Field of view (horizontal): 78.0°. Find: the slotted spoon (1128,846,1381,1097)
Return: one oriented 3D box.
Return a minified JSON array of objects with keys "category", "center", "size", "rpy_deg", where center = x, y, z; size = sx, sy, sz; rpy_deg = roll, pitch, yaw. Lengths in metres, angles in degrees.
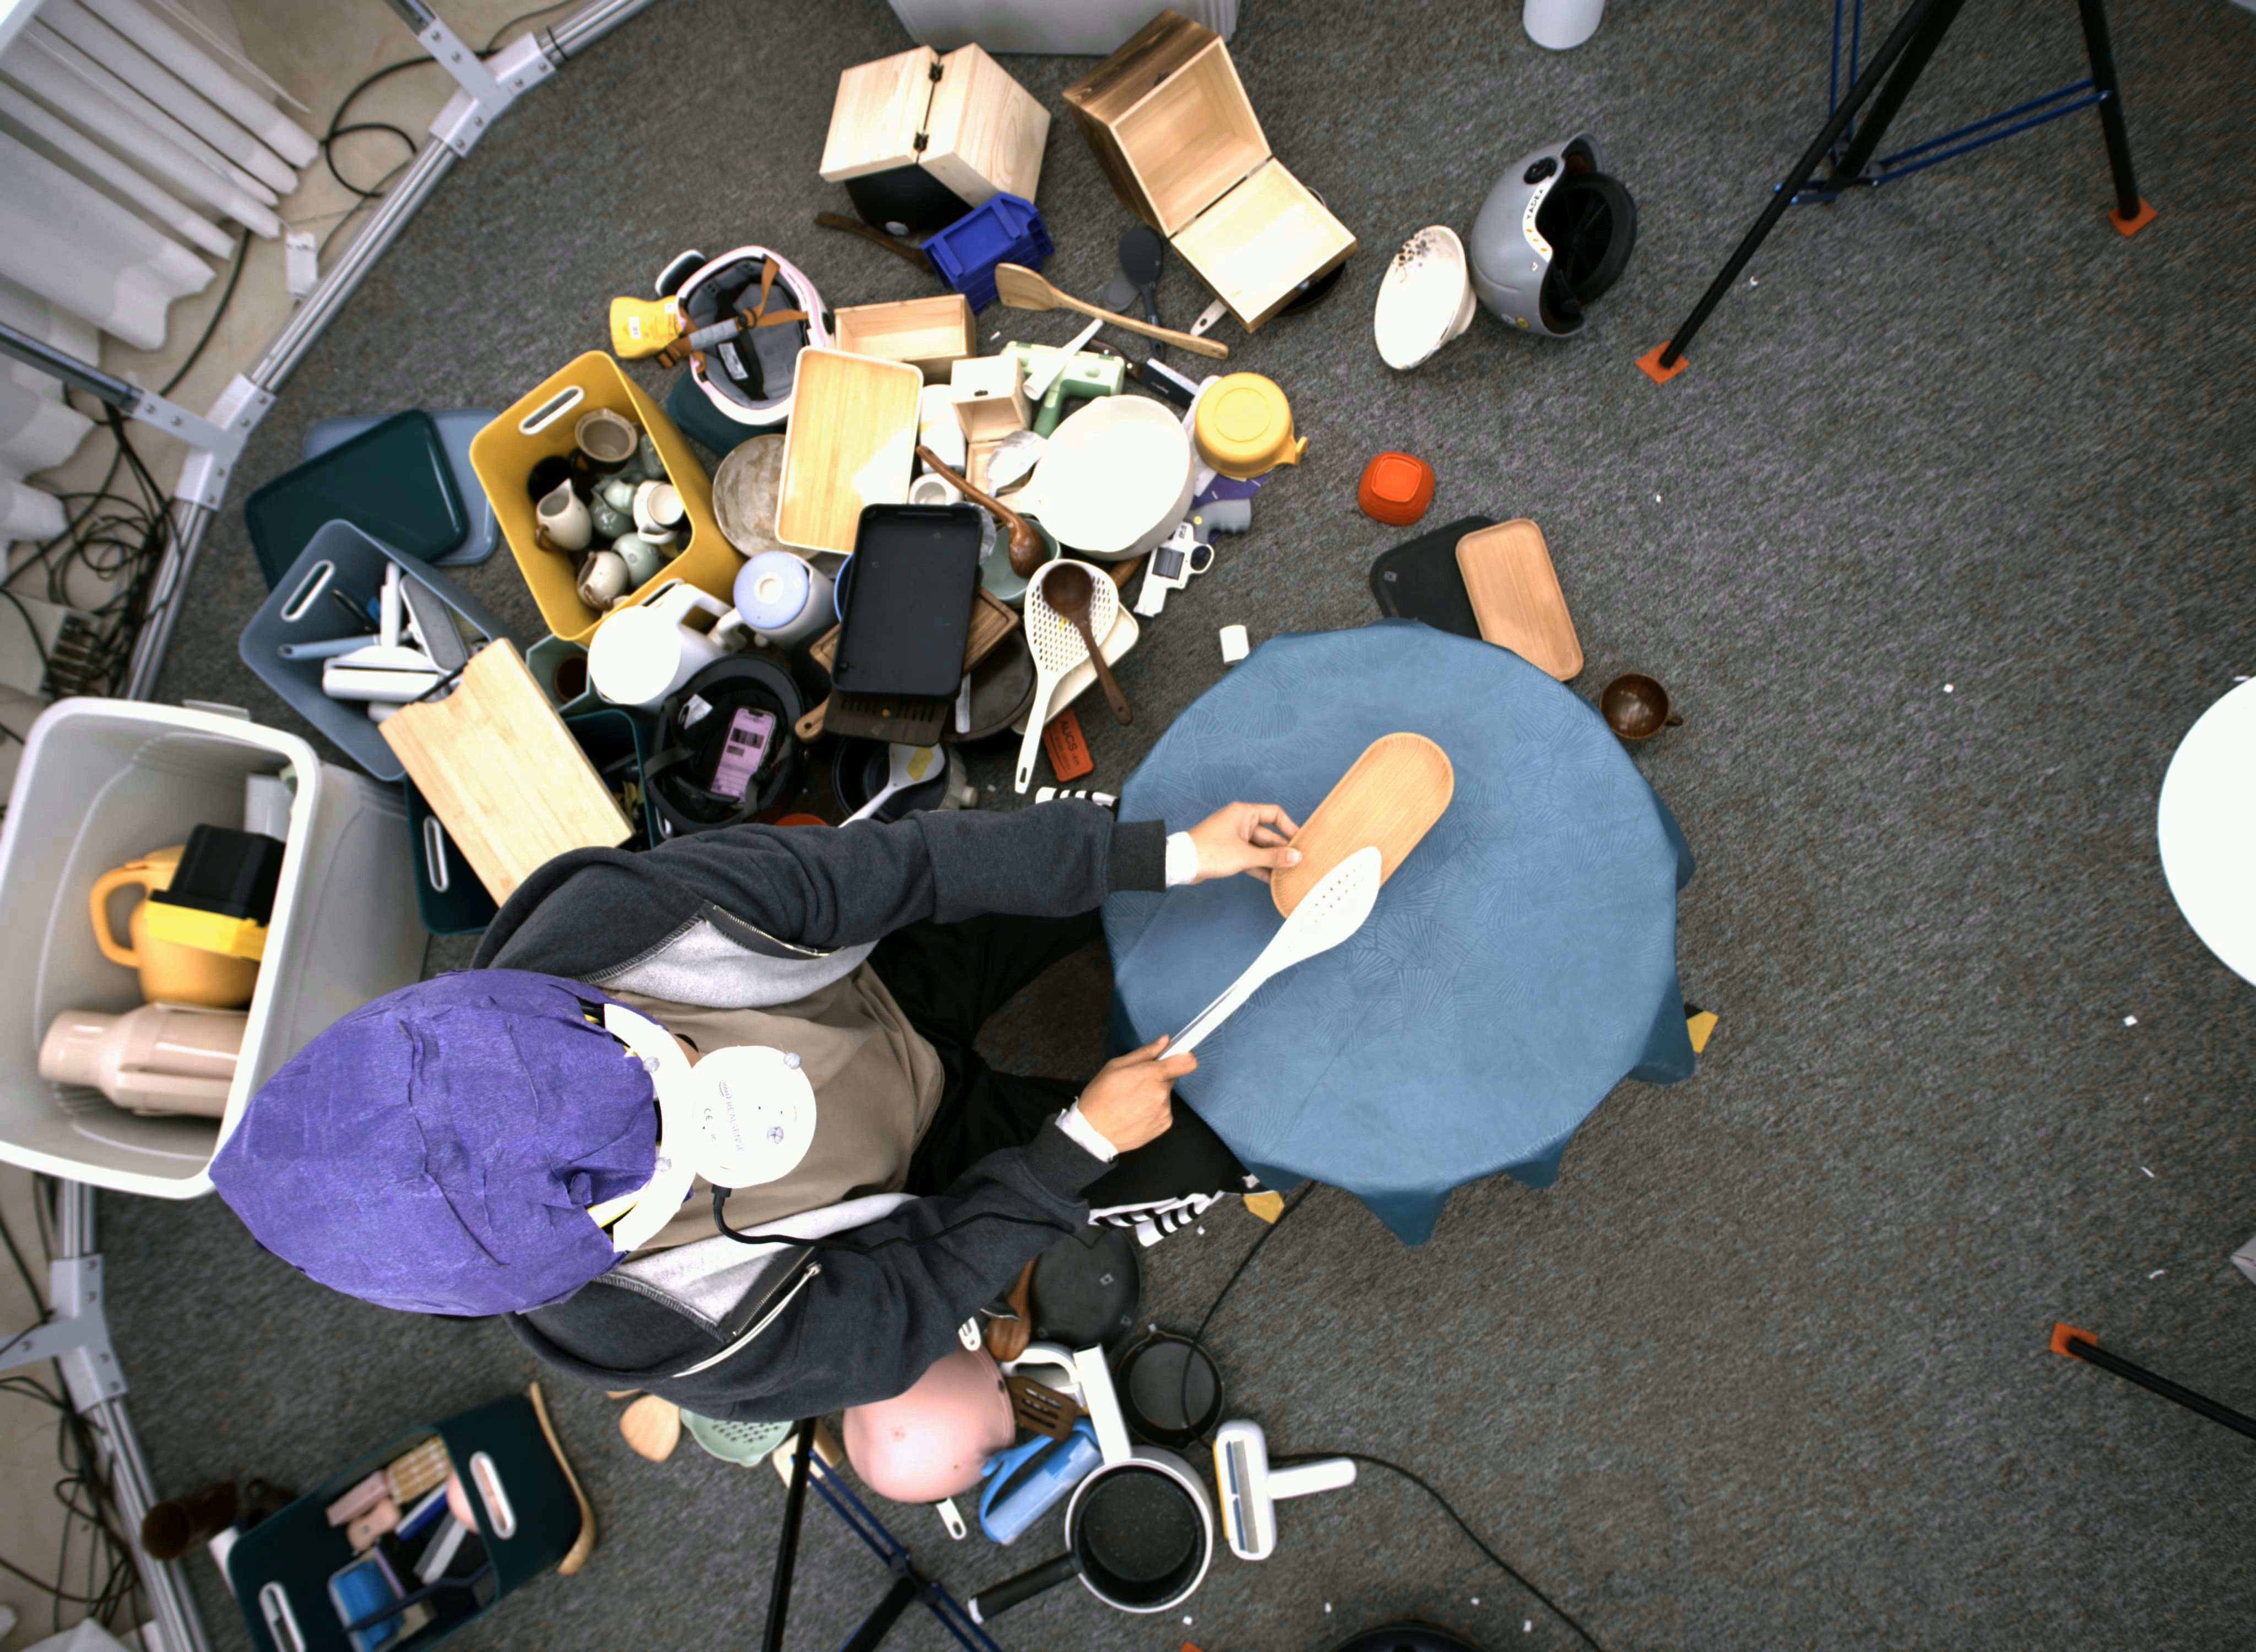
[{"category":"slotted spoon","center":[0.123,0.148,1.363],"size":[0.354,0.134,0.046],"rpy_deg":[-41,97,16]}]

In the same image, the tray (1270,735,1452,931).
[{"category":"tray","center":[0.234,0.009,1.389],"size":[0.102,0.020,0.233],"rpy_deg":[37,99,-1]}]
